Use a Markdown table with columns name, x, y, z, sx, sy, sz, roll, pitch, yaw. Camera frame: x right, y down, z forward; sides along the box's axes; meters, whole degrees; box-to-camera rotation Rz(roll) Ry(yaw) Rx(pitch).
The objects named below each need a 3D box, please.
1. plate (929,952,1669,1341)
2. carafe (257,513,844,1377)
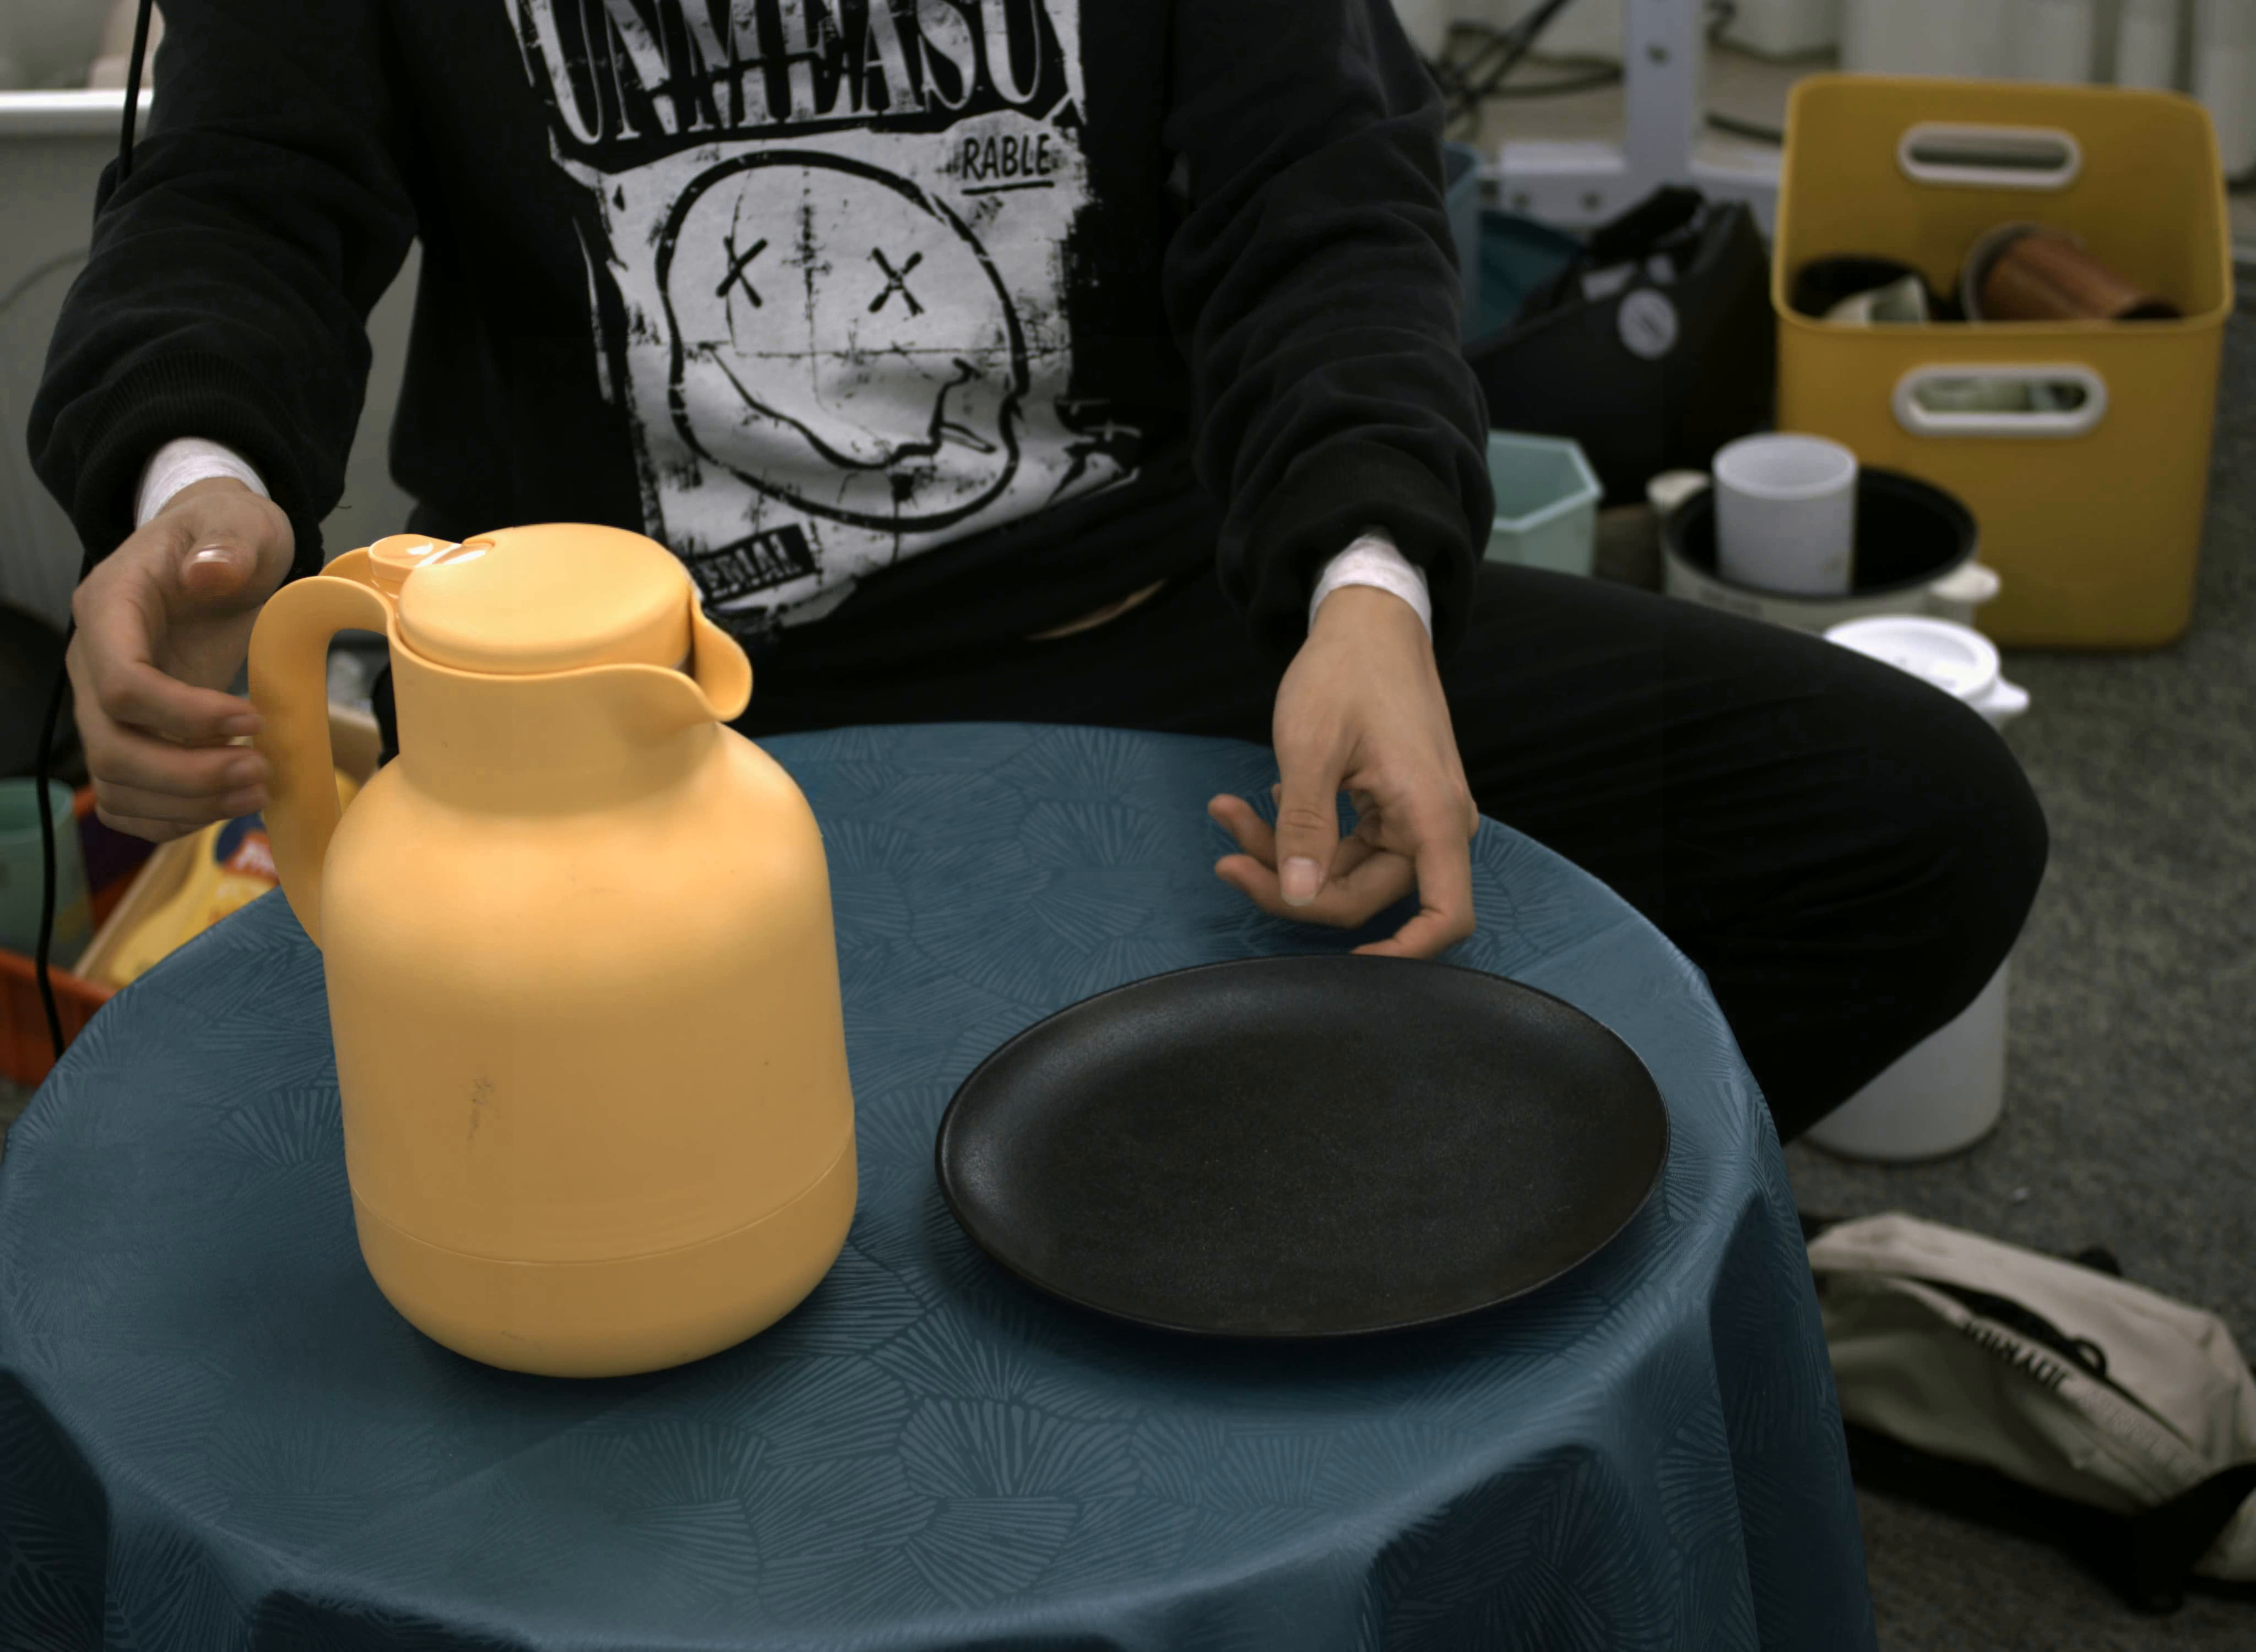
| name | x | y | z | sx | sy | sz | roll | pitch | yaw |
| --- | --- | --- | --- | --- | --- | --- | --- | --- | --- |
| plate | 0.056 | 0.110 | 1.850 | 0.243 | 0.023 | 0.248 | -2 | 27 | 1 |
| carafe | -0.188 | 0.028 | 1.778 | 0.201 | 0.258 | 0.166 | 18 | 31 | 33 |
